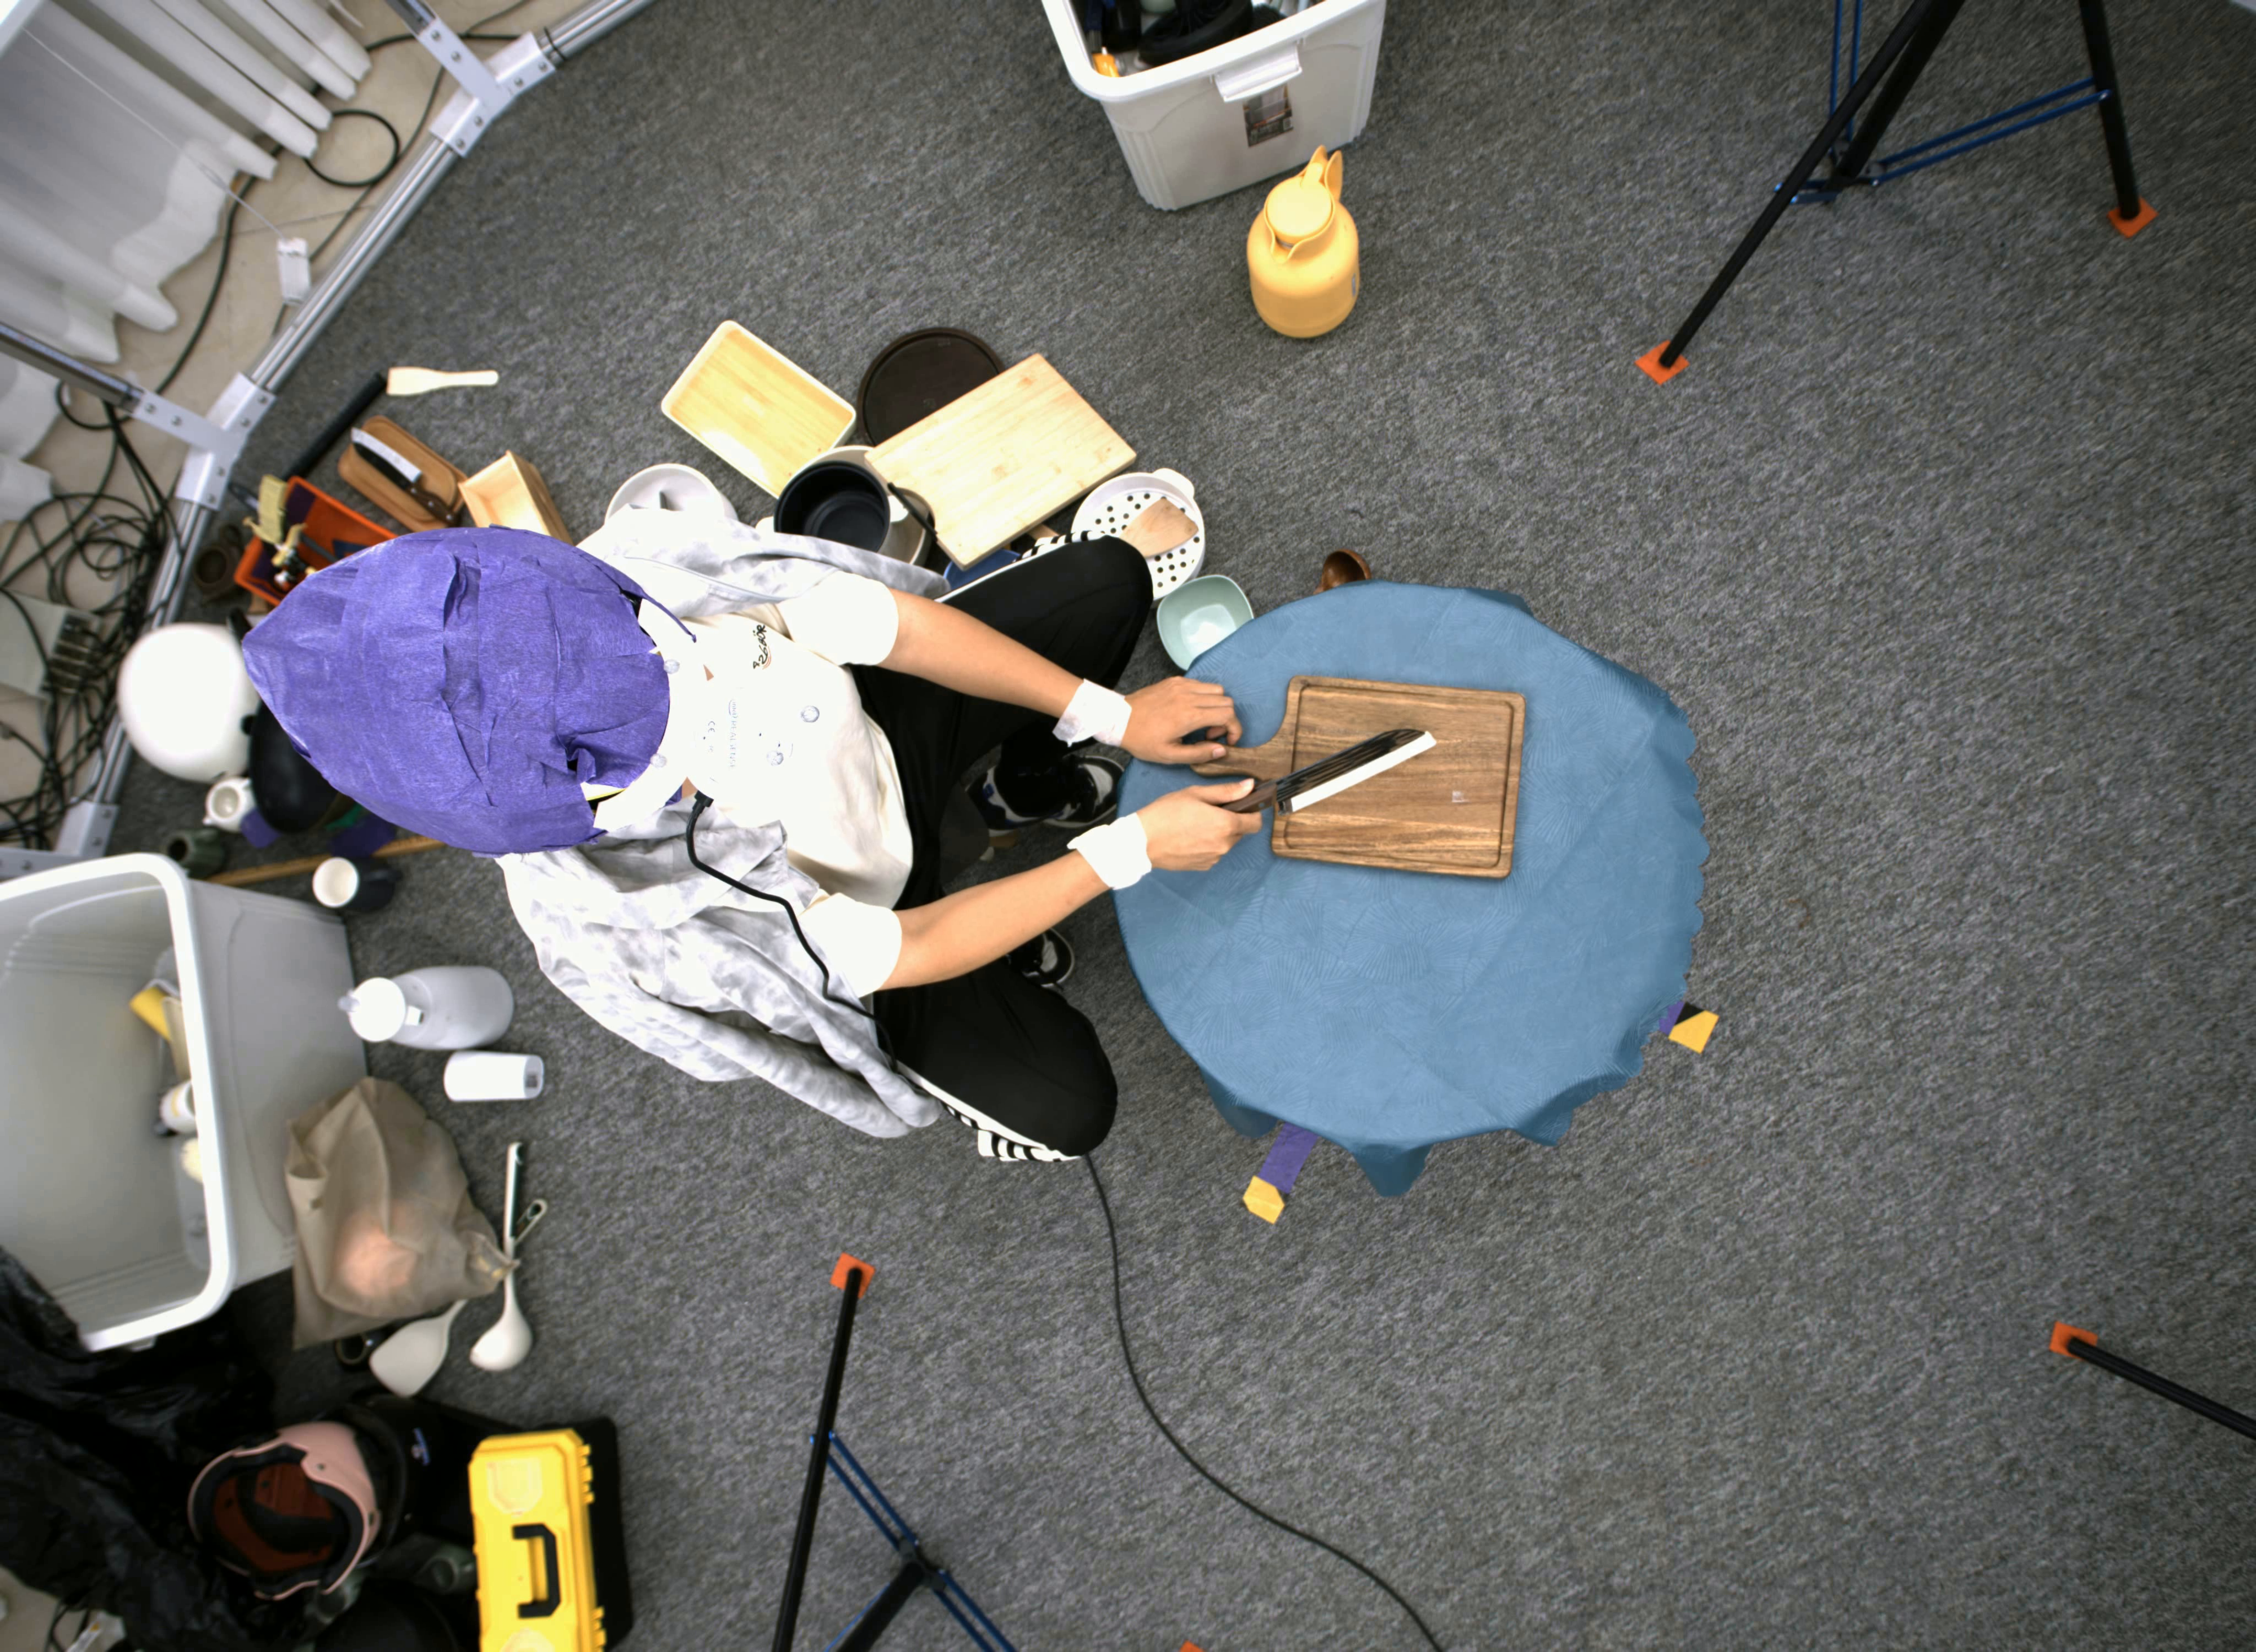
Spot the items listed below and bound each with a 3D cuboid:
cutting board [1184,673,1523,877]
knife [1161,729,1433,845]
[{"bbox_3d":[0.234,-0.061,1.462,0.353,0.023,0.200,6,88,11],"label":"cutting board"},{"bbox_3d":[0.177,-0.039,1.420,0.300,0.069,0.023,-24,57,2],"label":"knife"}]
